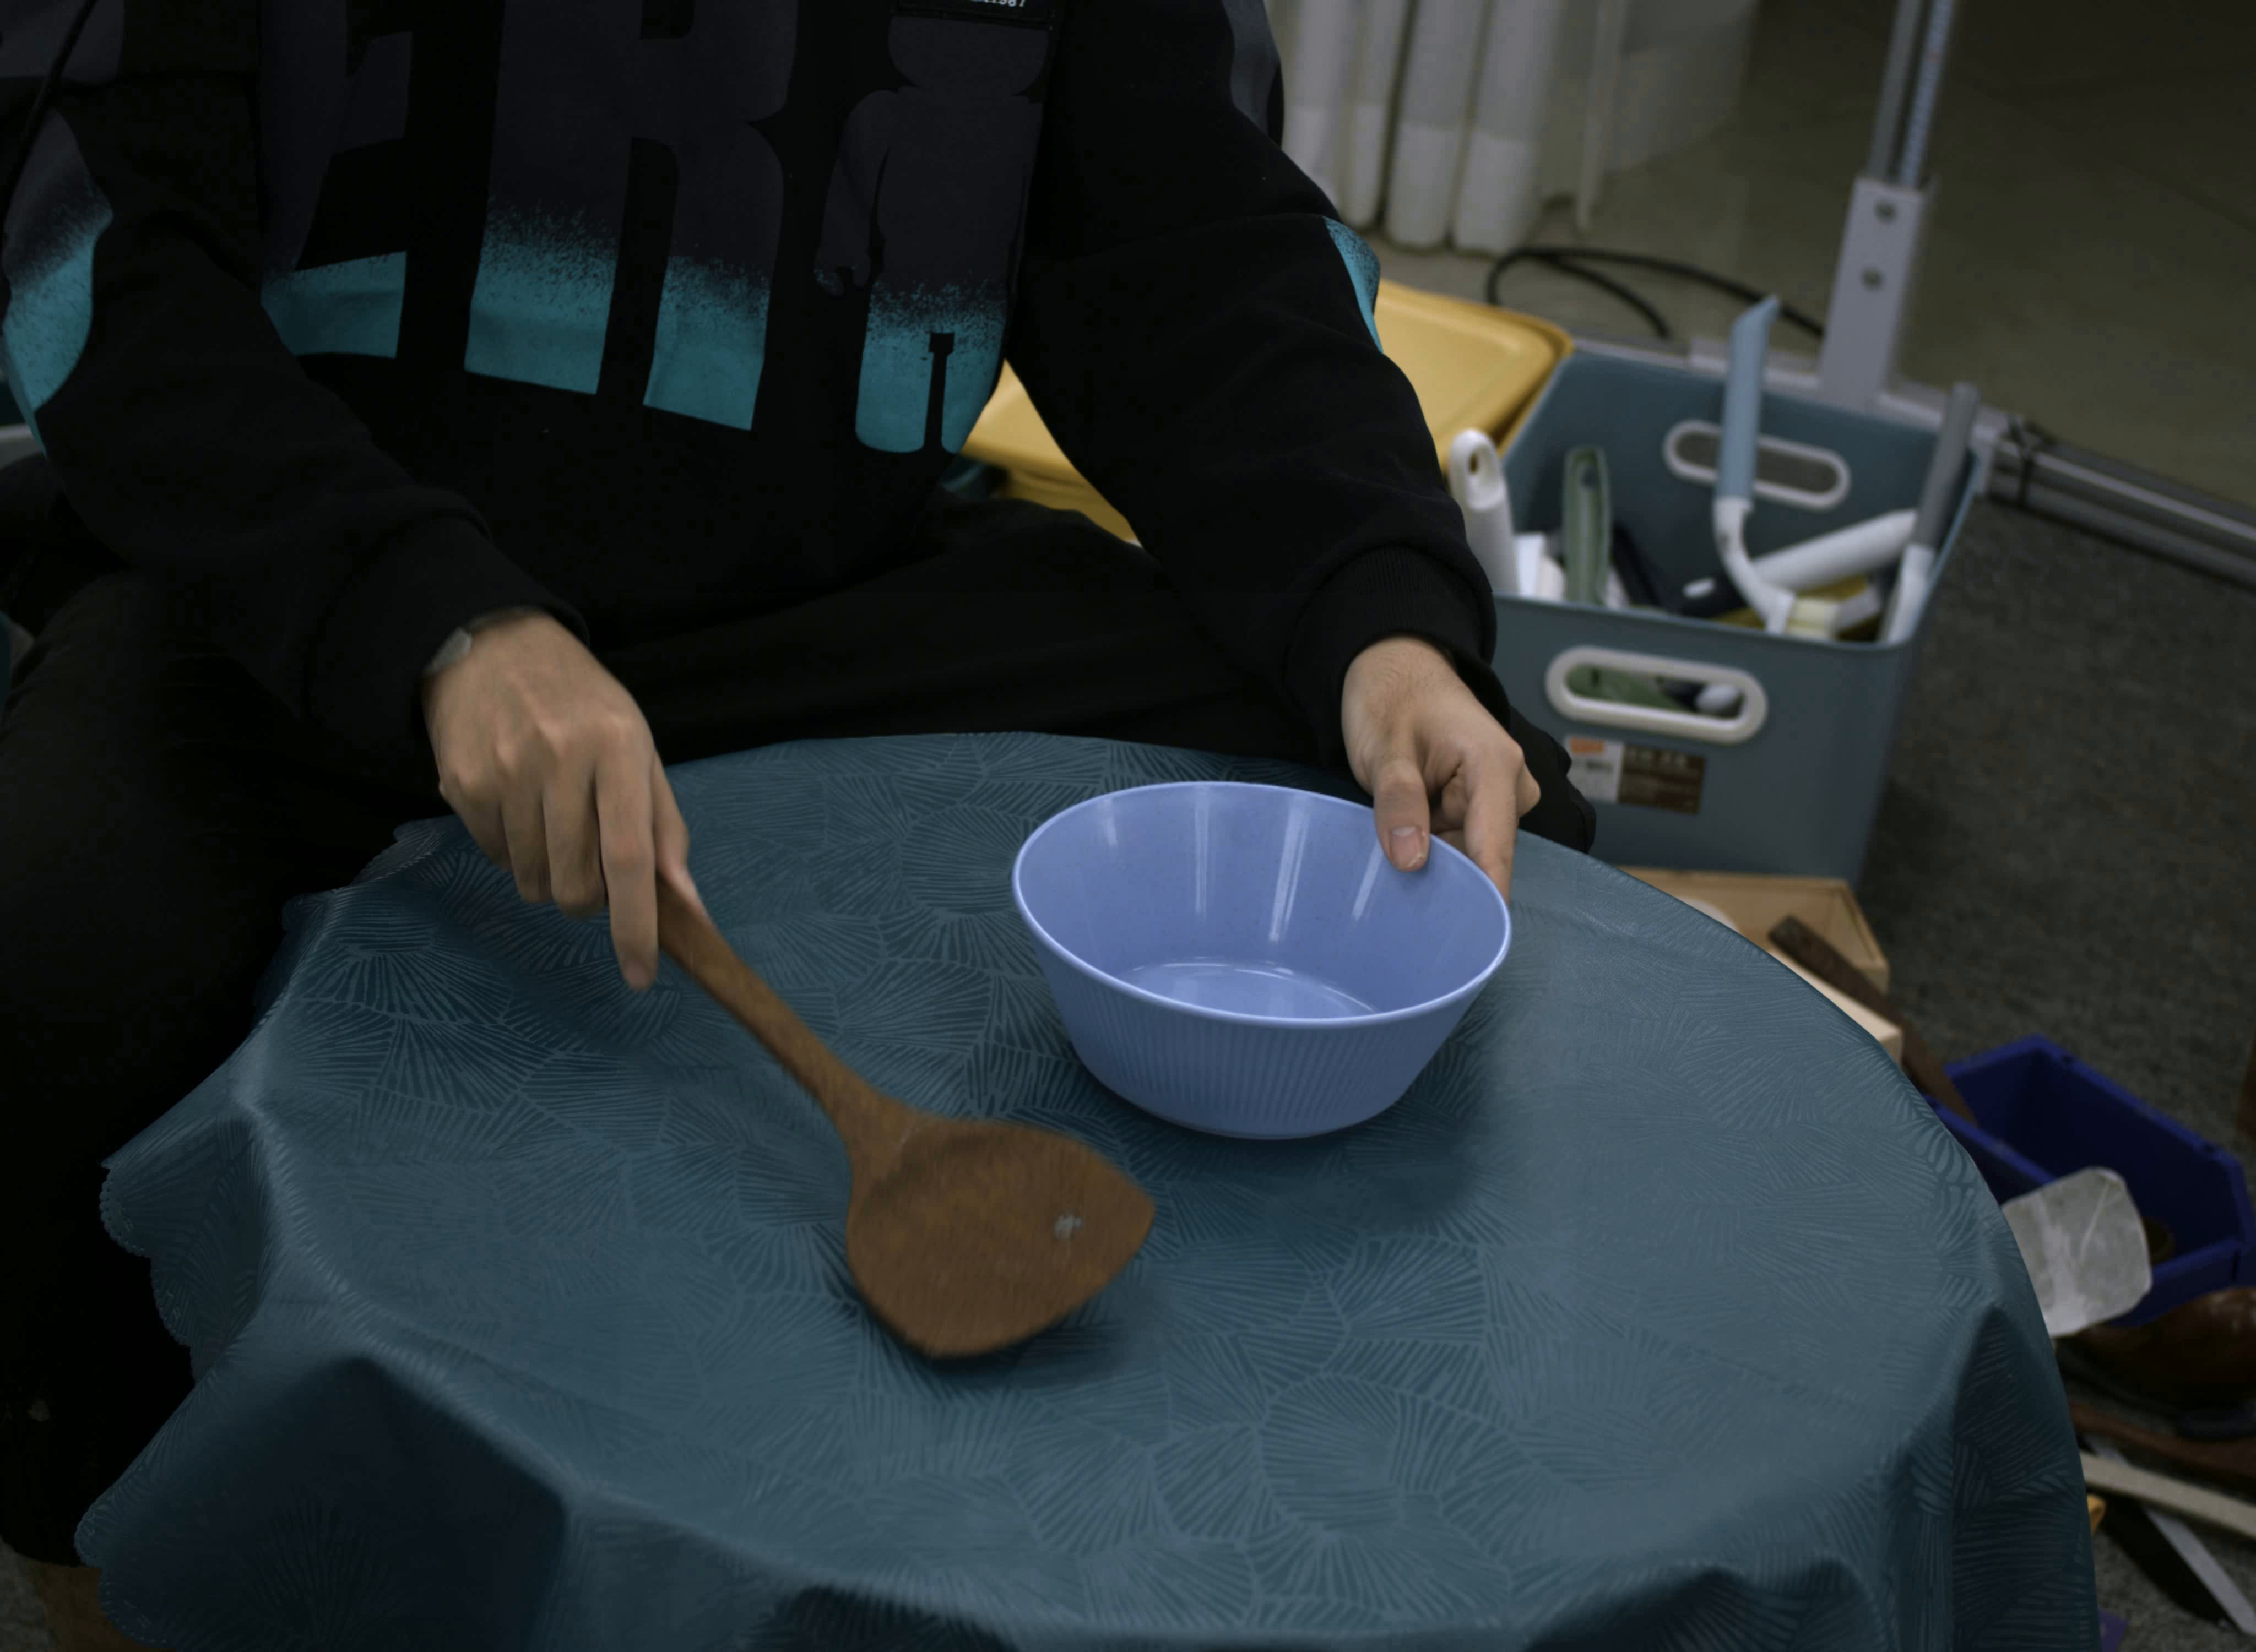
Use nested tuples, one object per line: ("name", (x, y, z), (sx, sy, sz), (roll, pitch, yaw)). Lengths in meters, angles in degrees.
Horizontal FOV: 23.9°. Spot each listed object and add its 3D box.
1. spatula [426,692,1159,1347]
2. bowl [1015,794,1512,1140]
("spatula", (-0.133, 0.052, 1.810), (0.096, 0.015, 0.389), (-33, 49, -20))
("bowl", (0.044, 0.055, 1.870), (0.175, 0.070, 0.177), (5, 25, -3))
